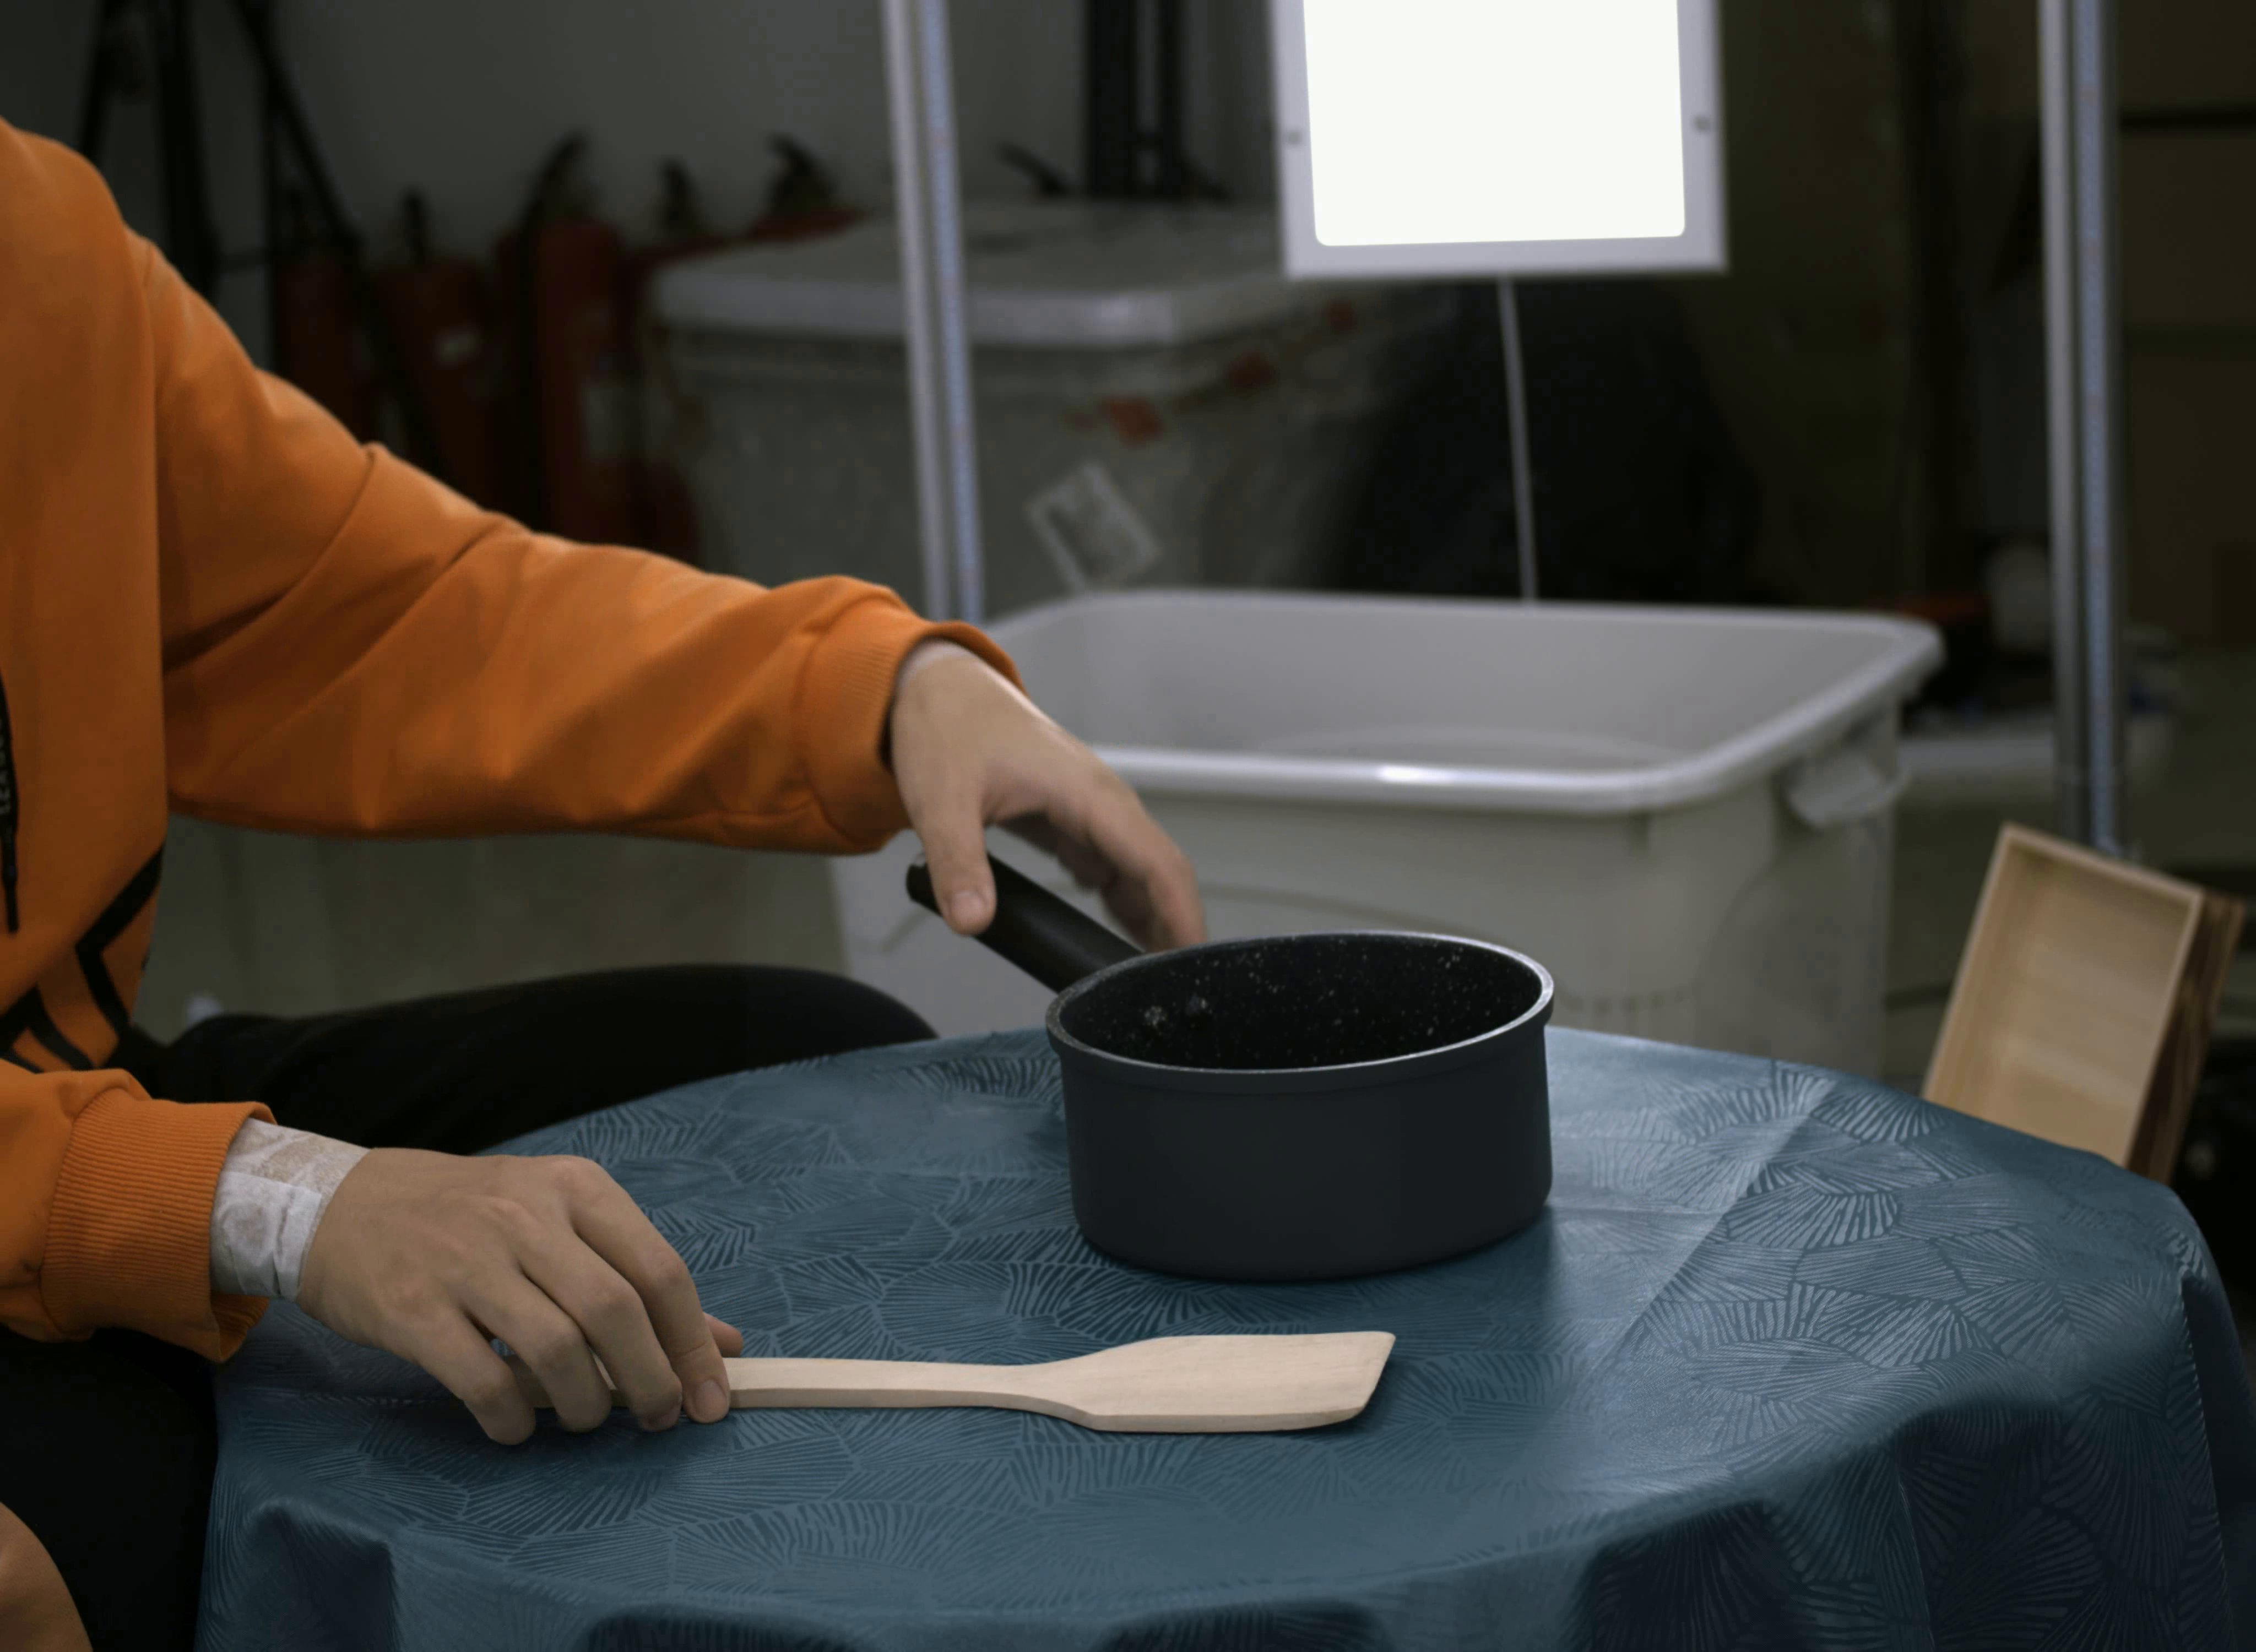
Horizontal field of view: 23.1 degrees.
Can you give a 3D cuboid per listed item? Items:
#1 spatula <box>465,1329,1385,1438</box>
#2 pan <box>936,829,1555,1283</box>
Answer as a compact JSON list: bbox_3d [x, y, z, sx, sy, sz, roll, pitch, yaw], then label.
[{"bbox_3d":[-0.067,0.173,1.714,0.296,0.011,0.071,-1,18,15],"label":"spatula"},{"bbox_3d":[0.021,0.076,1.919,0.168,0.087,0.334,-11,17,-26],"label":"pan"}]
